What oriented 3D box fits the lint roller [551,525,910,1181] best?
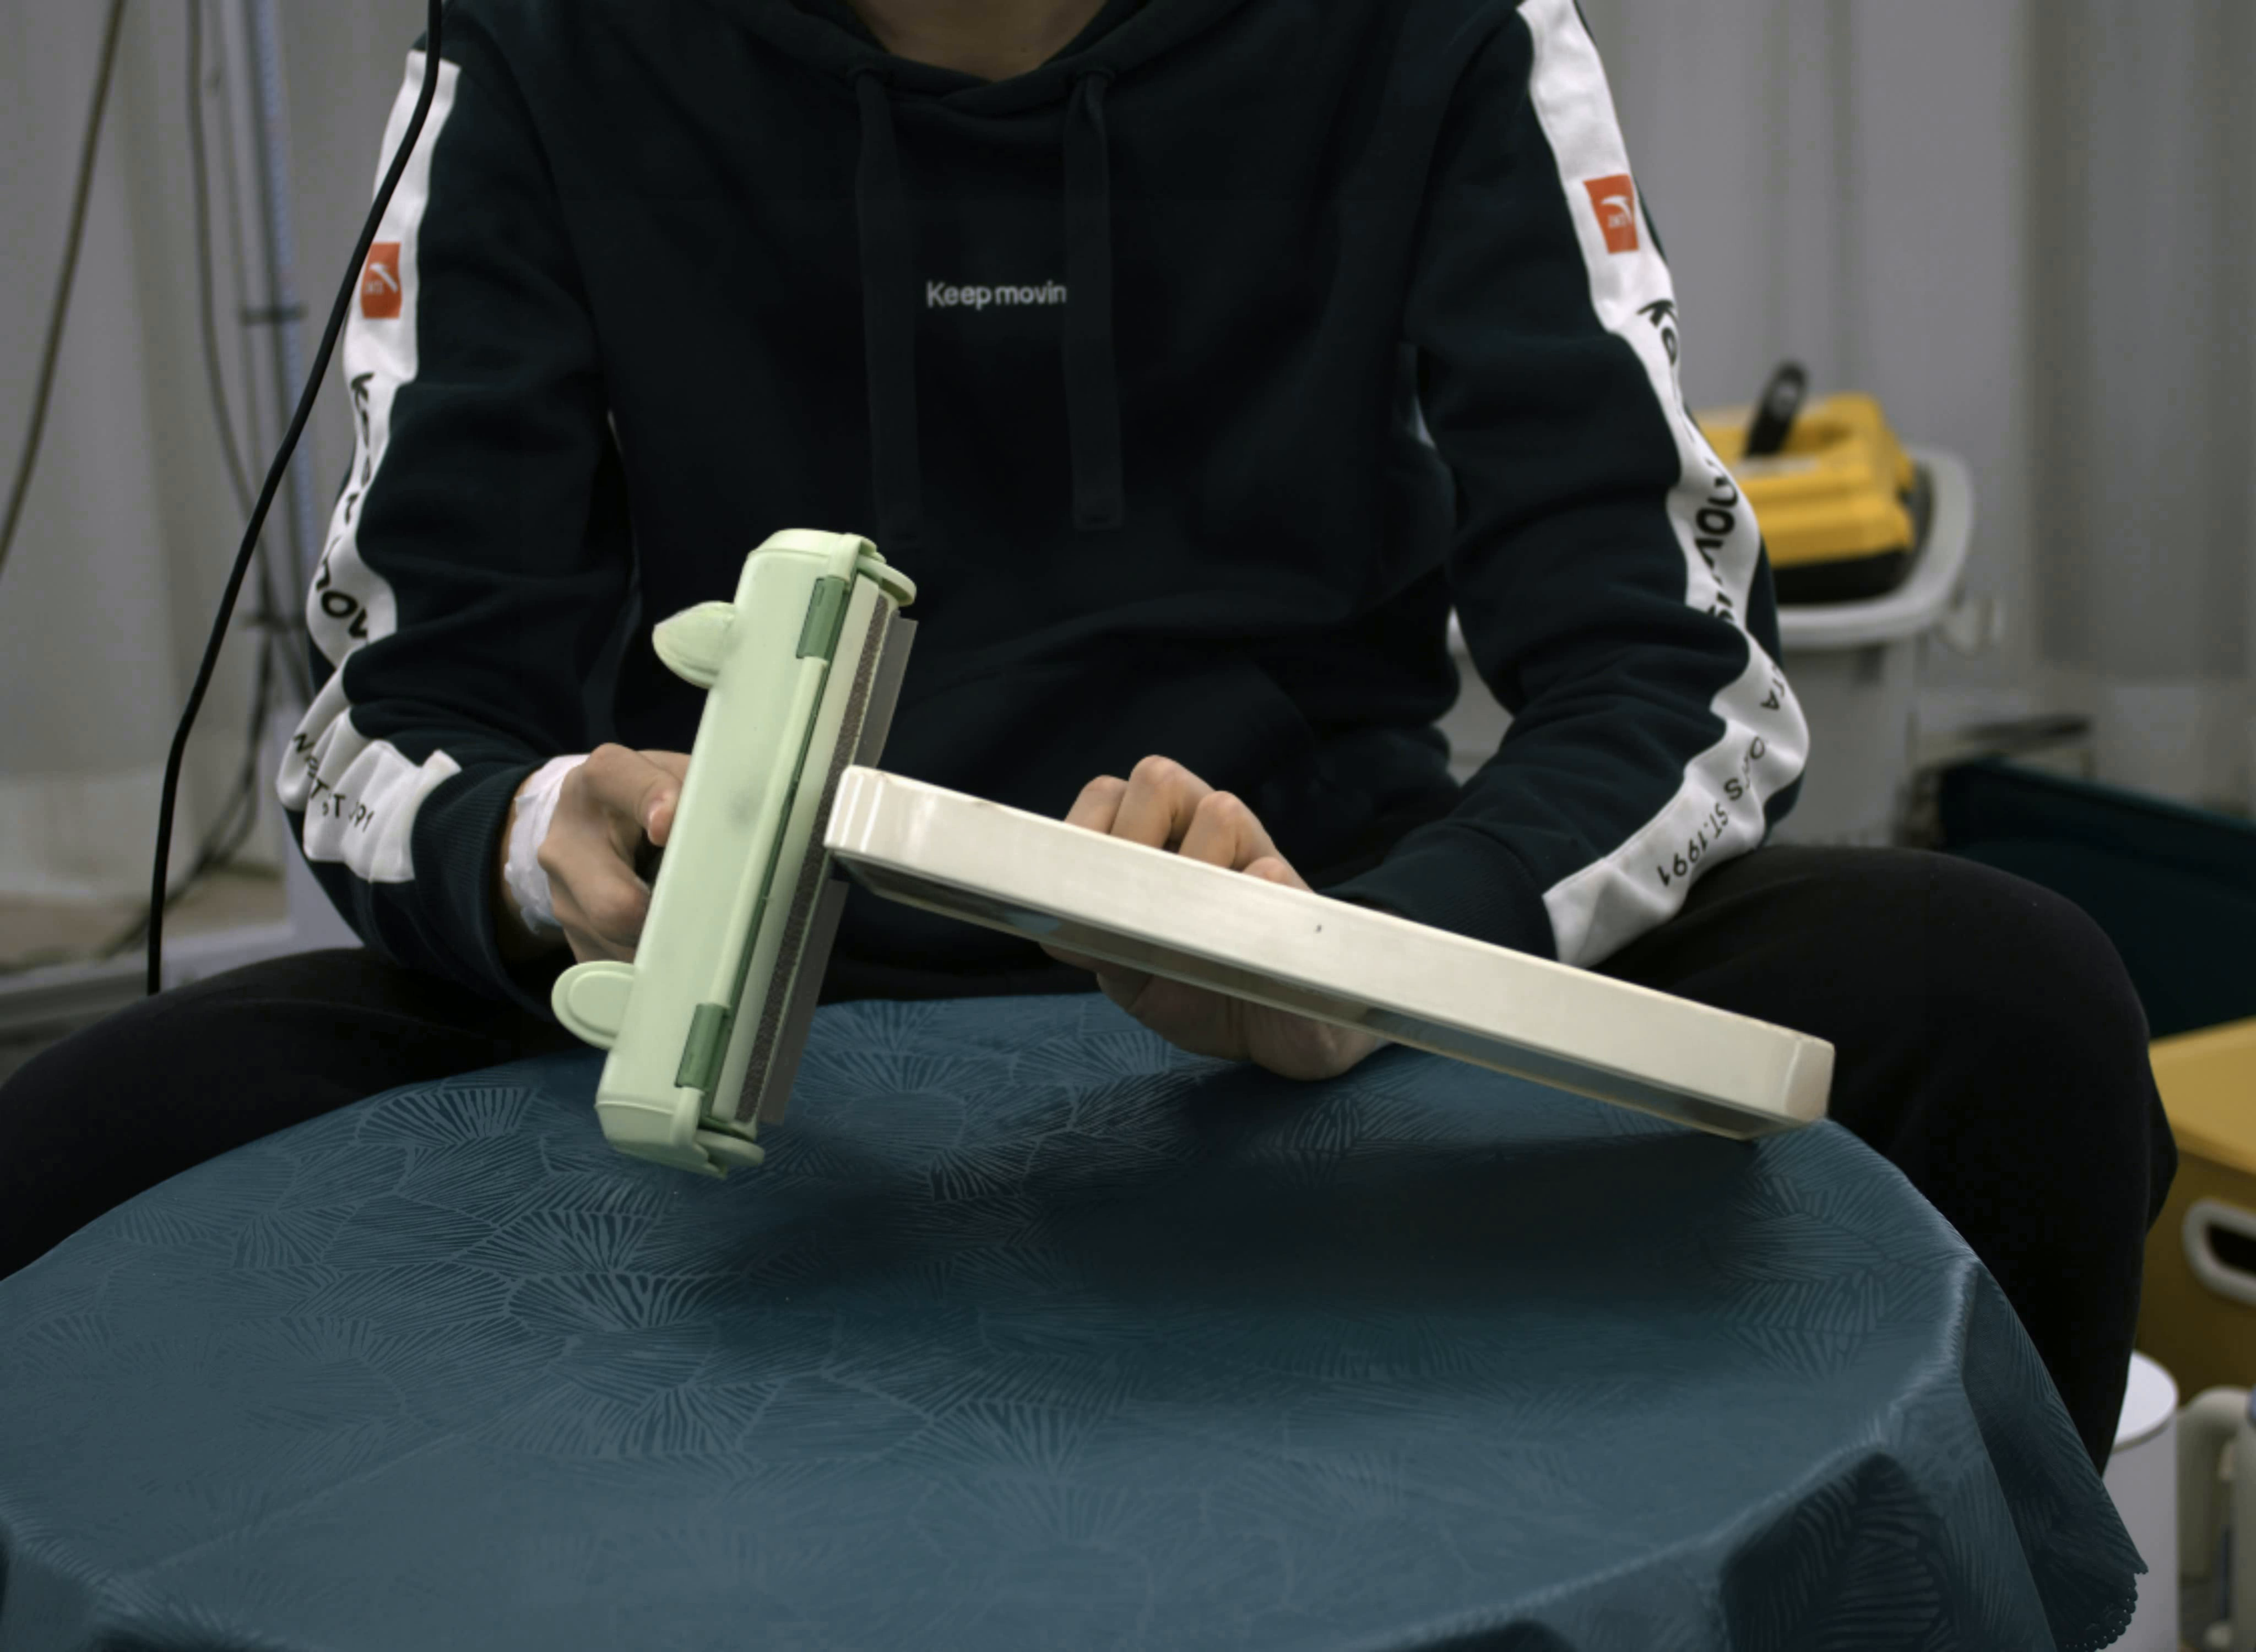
[{"bbox_3d":[-0.142,0.011,1.704,0.081,0.200,0.183,20,-14,-22],"label":"lint roller"}]

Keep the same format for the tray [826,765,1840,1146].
[{"bbox_3d":[0.059,0.042,1.654,0.300,0.027,0.191,16,-5,3],"label":"tray"}]
